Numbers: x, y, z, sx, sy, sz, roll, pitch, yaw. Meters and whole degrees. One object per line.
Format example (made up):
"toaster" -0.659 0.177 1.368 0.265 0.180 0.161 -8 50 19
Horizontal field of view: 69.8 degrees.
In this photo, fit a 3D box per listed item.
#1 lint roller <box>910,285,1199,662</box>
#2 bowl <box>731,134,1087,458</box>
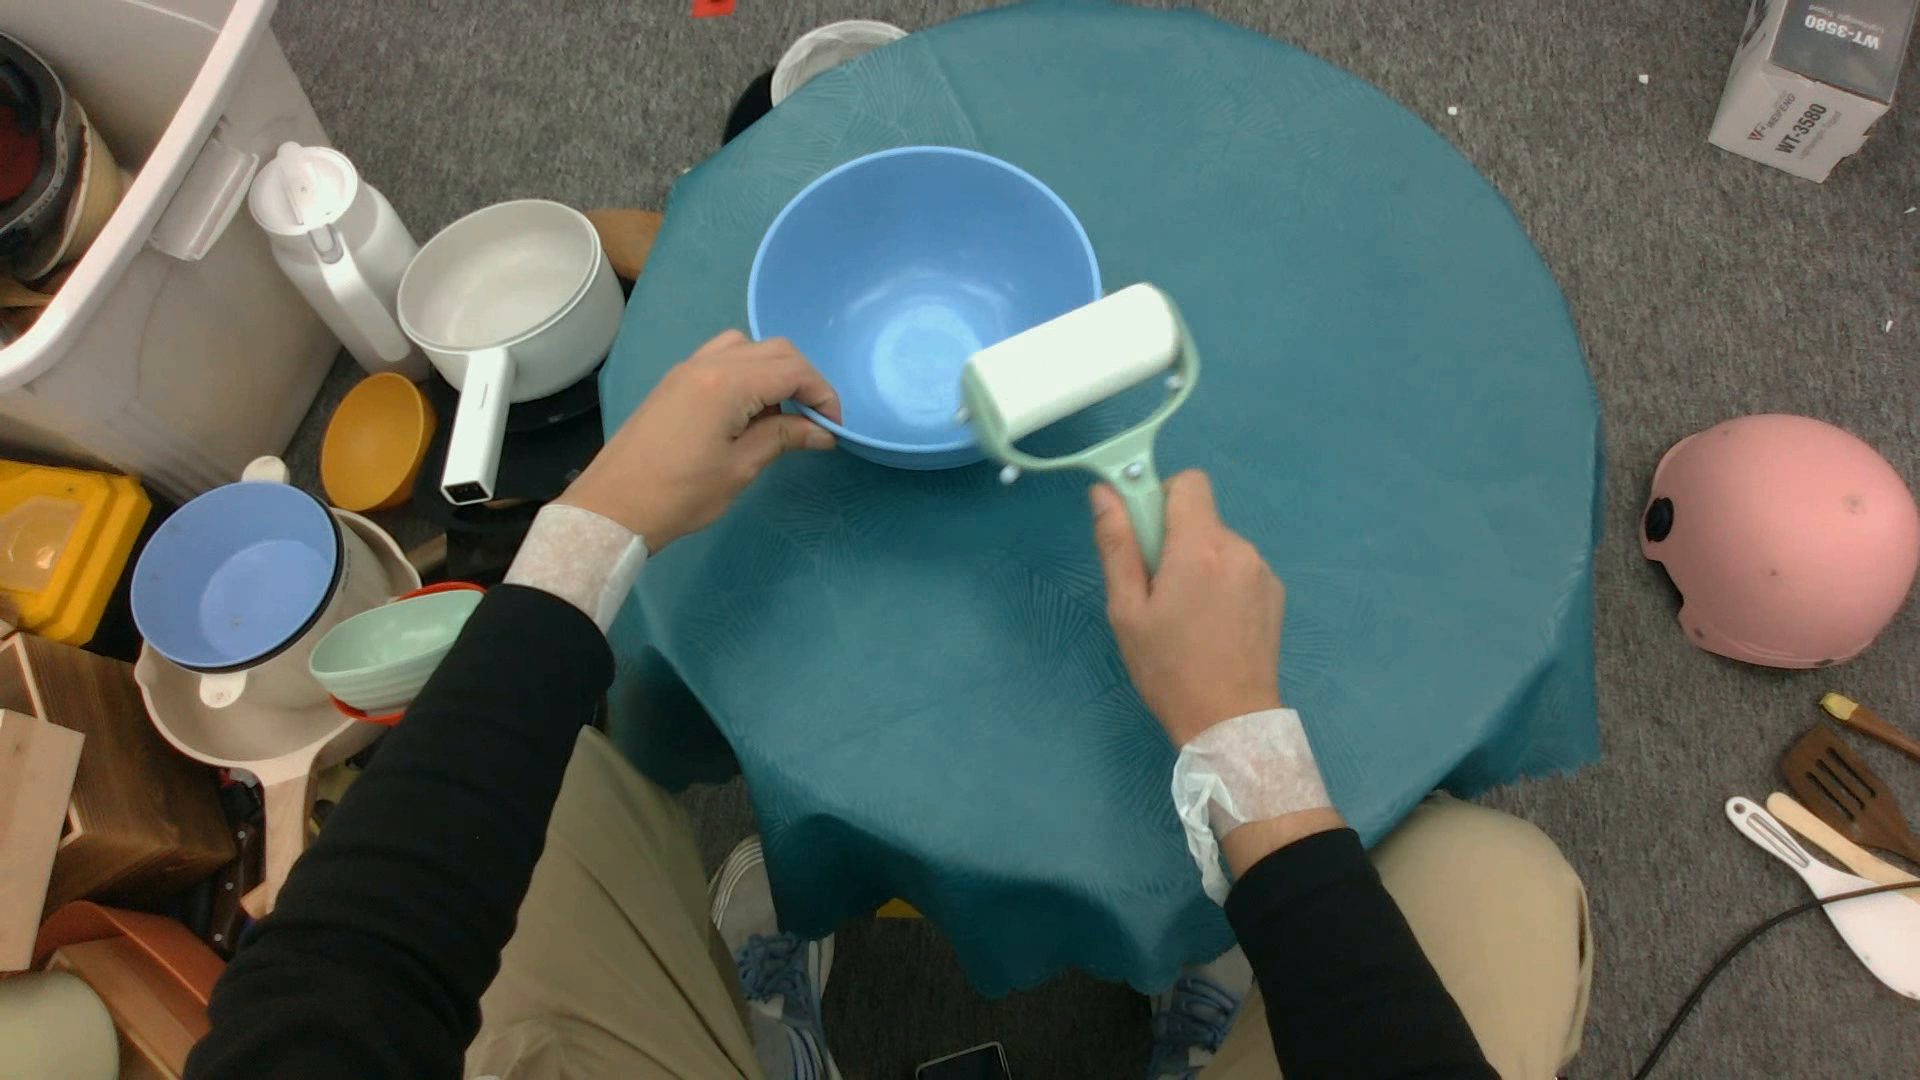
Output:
"lint roller" 0.067 -0.023 0.702 0.117 0.048 0.197 -30 88 -13
"bowl" -0.028 -0.127 0.800 0.196 0.095 0.197 0 68 -1
